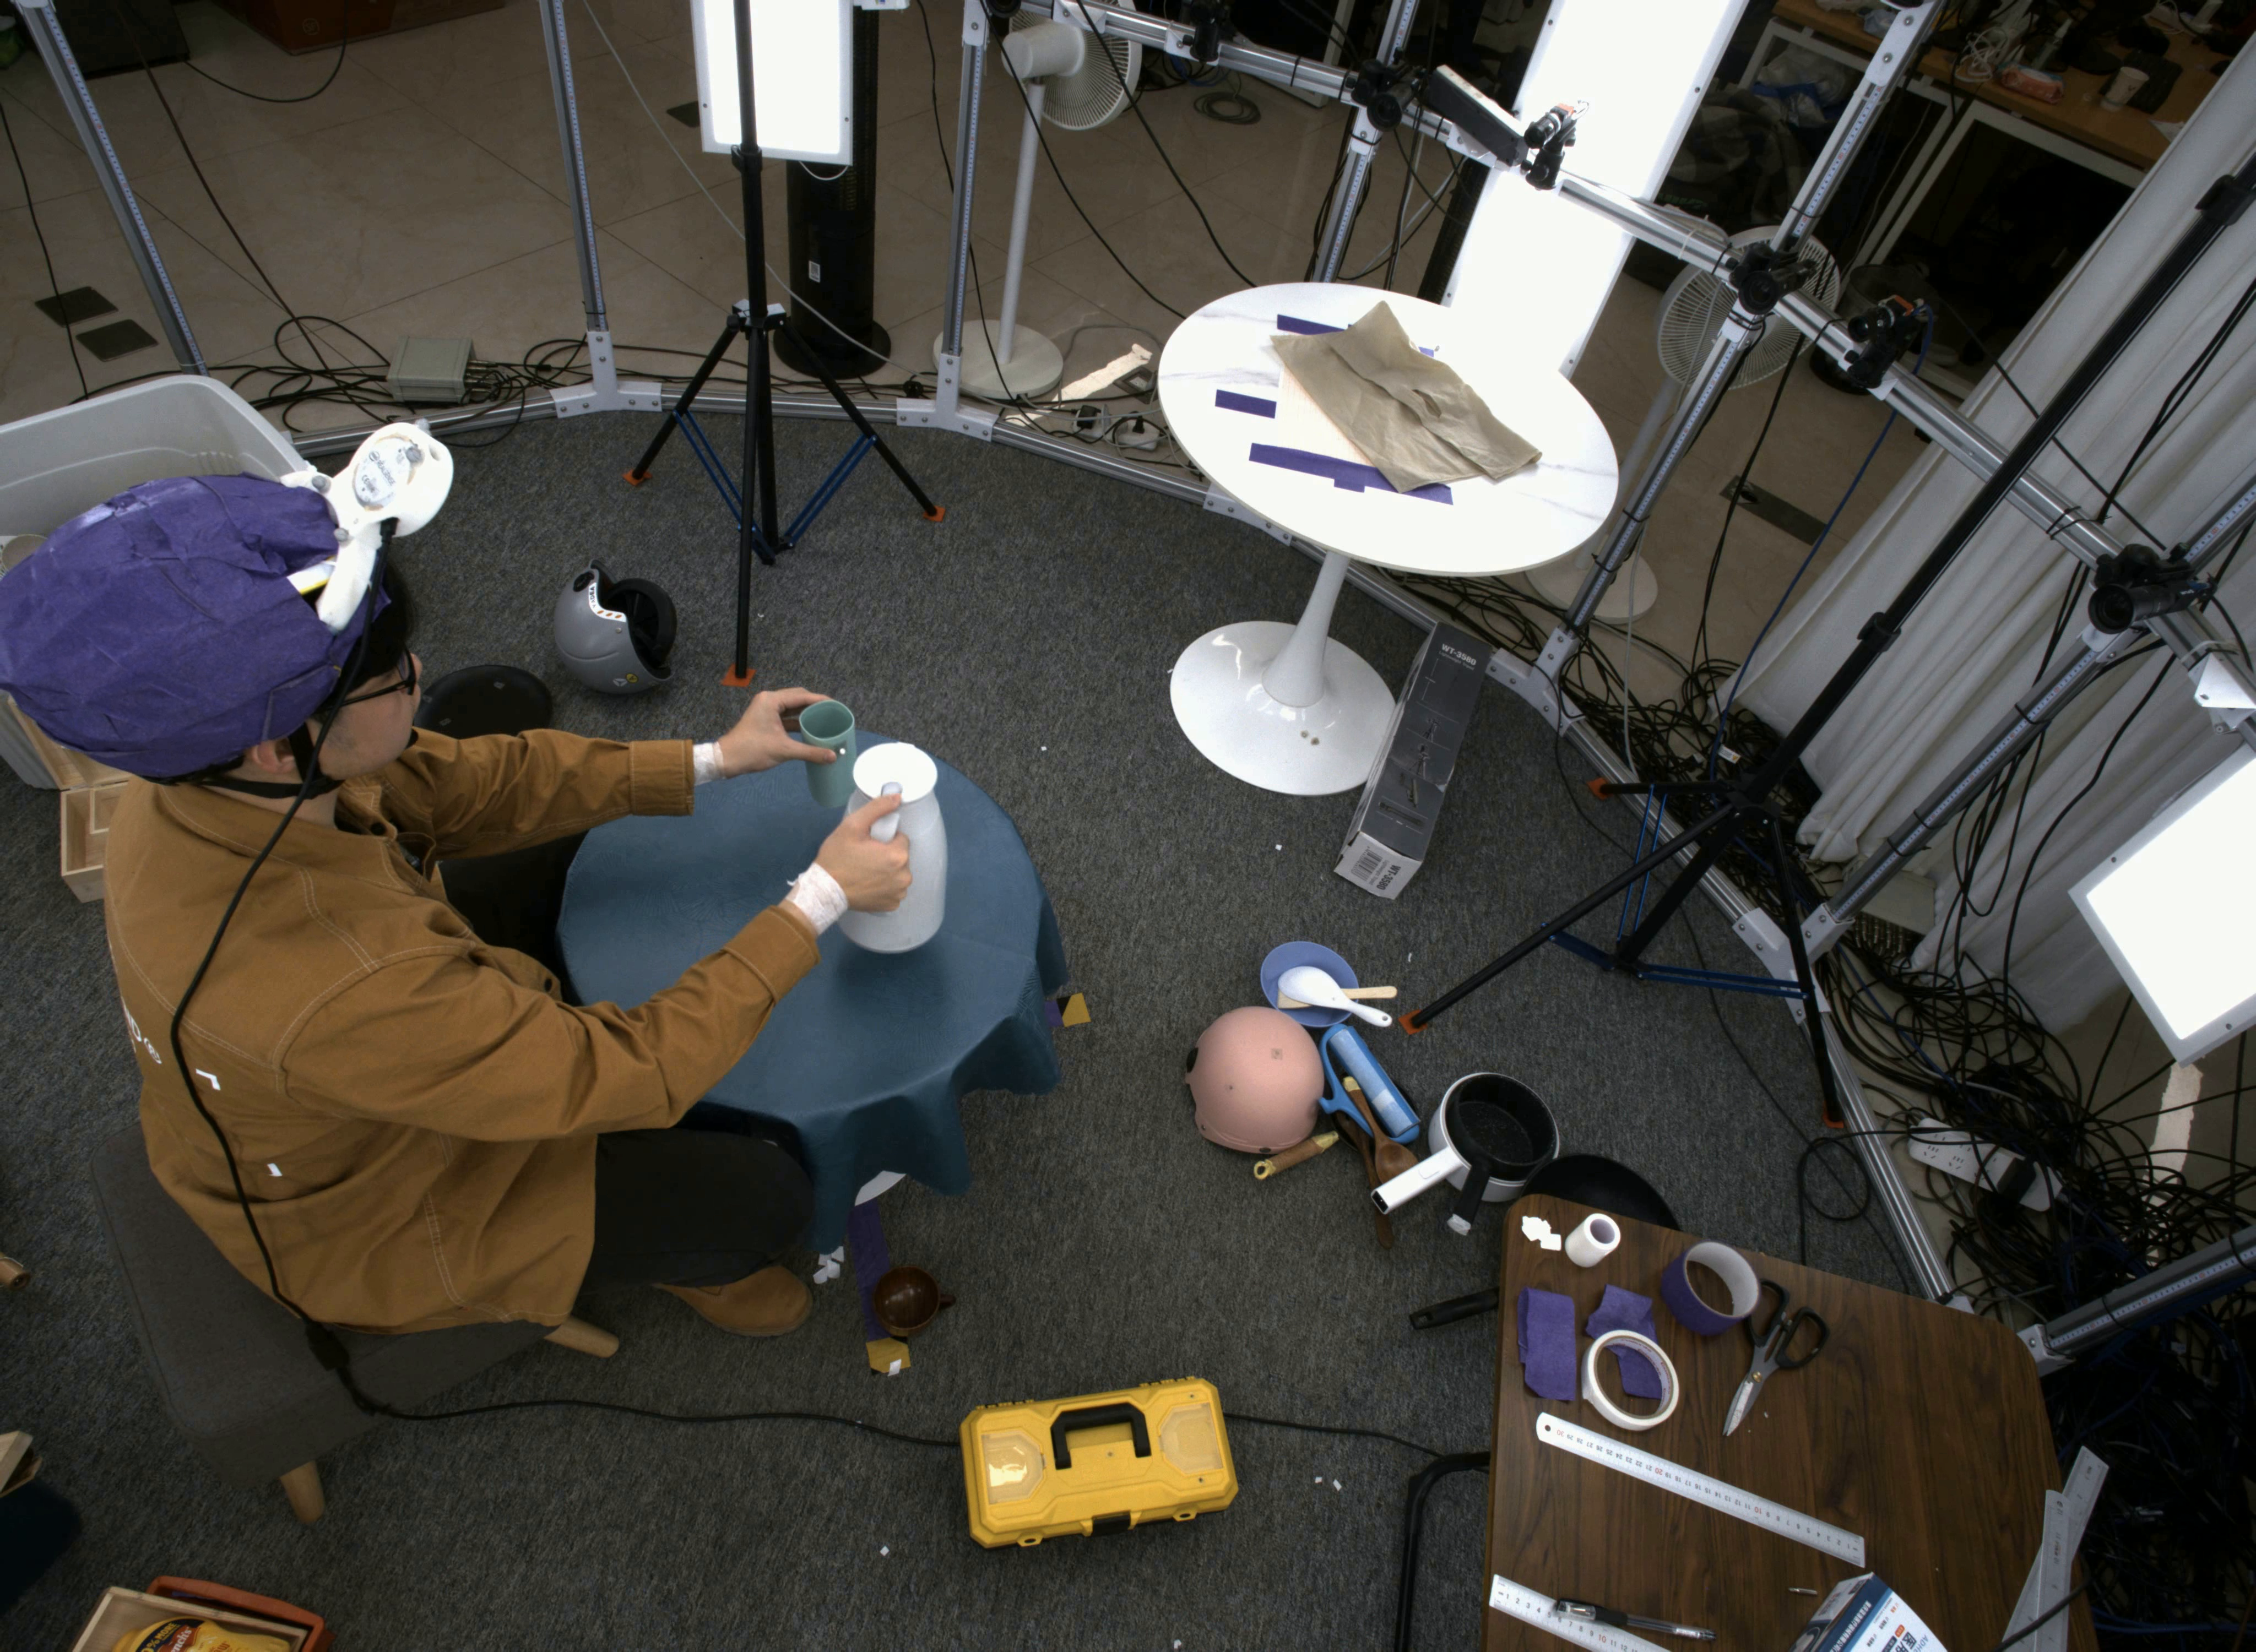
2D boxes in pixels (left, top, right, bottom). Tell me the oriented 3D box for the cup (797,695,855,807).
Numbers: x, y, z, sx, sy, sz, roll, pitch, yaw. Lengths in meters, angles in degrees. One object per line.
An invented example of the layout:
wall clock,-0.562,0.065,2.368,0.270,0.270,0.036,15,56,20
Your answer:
cup,-0.375,-0.092,1.616,0.066,0.136,0.065,4,50,-4

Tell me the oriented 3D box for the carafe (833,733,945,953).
carafe,-0.273,0.028,1.475,0.132,0.255,0.164,7,46,-5
